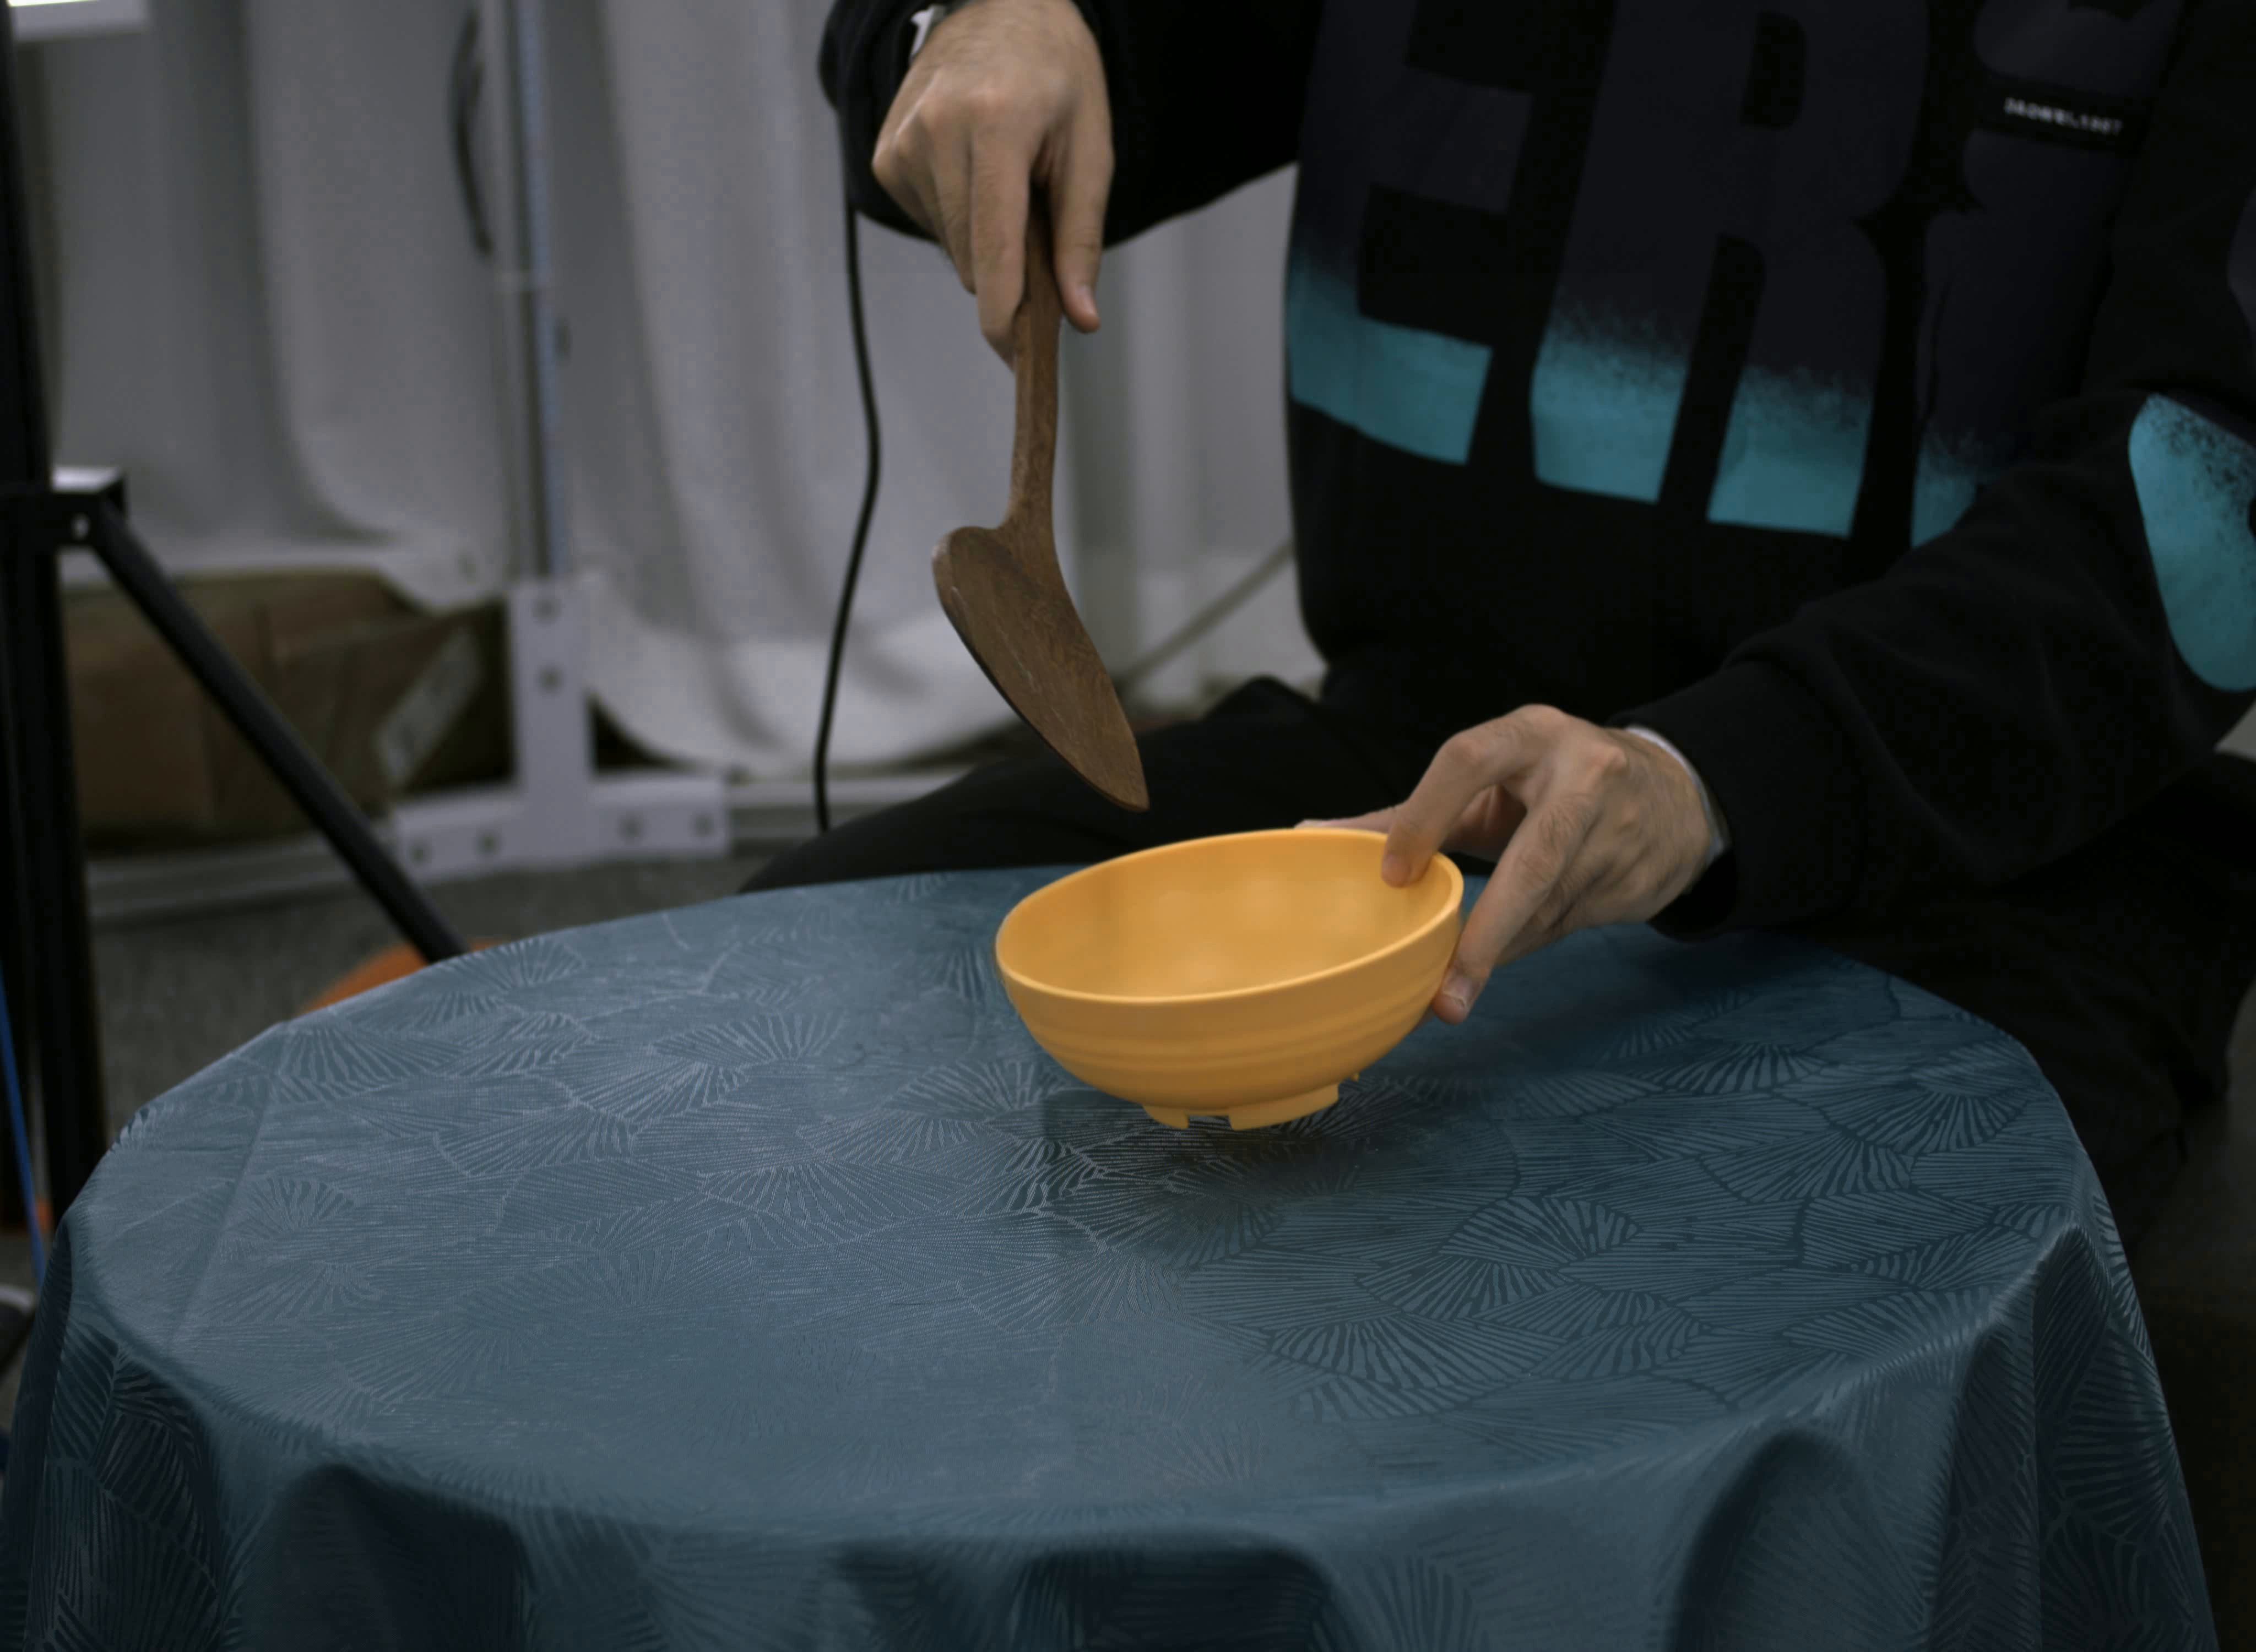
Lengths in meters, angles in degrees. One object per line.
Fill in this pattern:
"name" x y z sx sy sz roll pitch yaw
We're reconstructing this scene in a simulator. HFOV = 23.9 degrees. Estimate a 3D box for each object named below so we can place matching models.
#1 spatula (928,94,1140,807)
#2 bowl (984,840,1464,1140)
"spatula" -0.031 -0.138 1.721 0.016 0.094 0.389 -34 30 21
"bowl" 0.031 0.056 1.600 0.145 0.060 0.146 -6 18 1
